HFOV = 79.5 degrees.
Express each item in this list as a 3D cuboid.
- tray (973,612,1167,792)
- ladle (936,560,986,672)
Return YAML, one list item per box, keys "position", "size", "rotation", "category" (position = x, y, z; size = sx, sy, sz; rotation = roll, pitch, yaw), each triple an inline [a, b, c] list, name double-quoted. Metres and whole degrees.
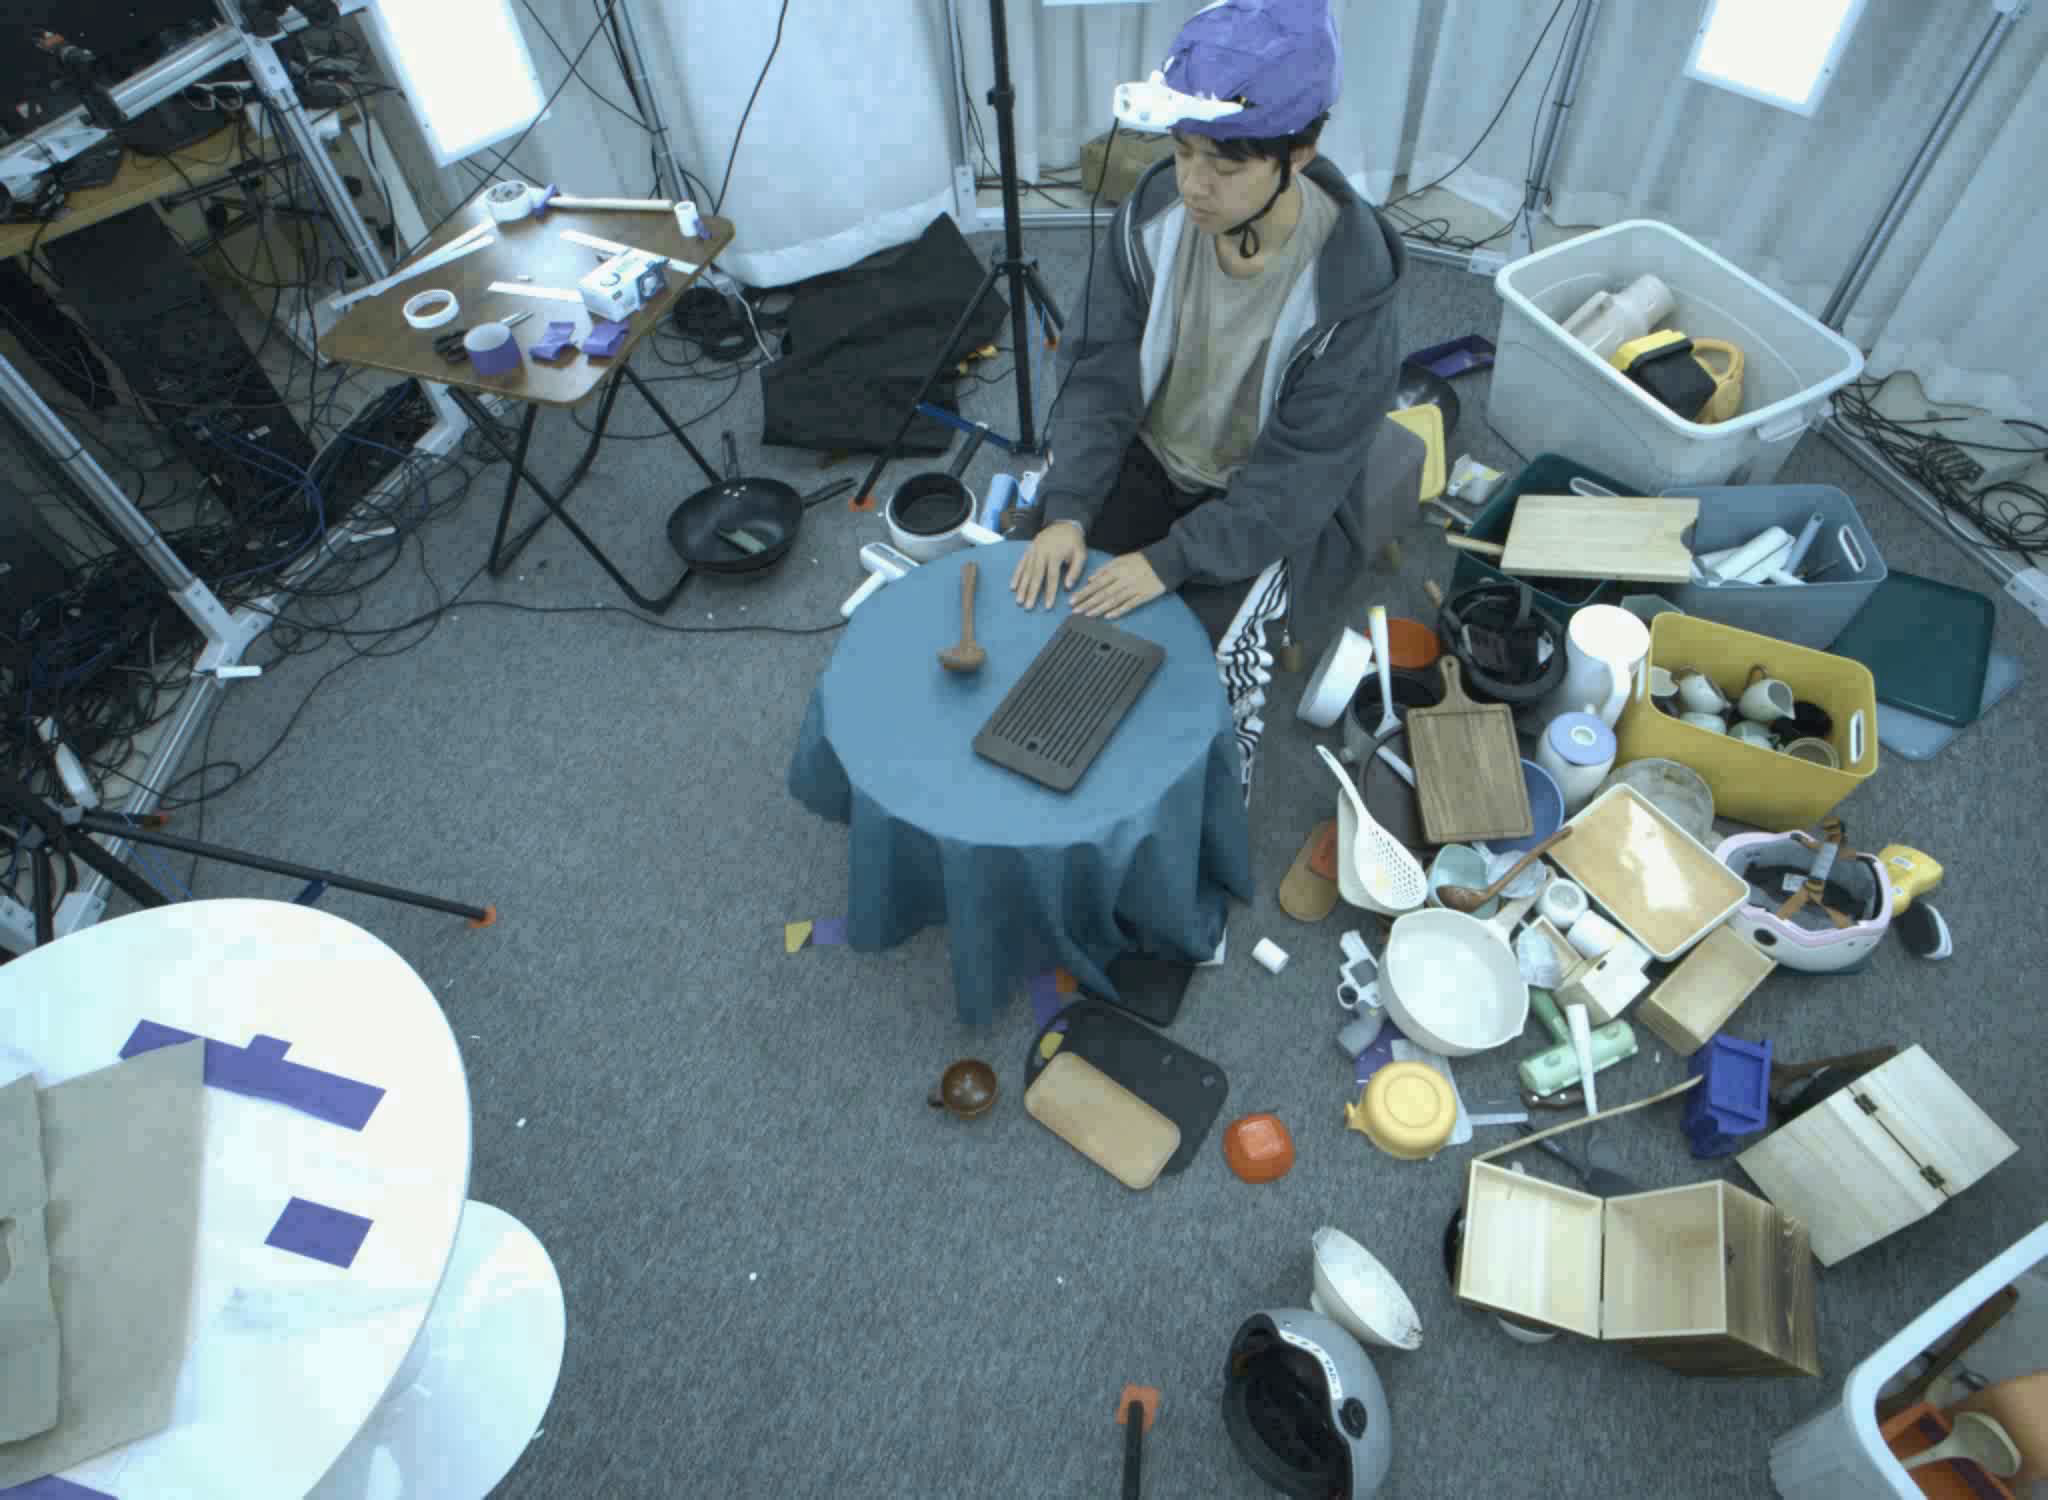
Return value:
- position: [0.072, -0.076, 1.830]
  size: [0.168, 0.019, 0.307]
  rotation: [25, 59, 19]
  category: "tray"
- position: [-0.092, -0.220, 1.910]
  size: [0.076, 0.066, 0.257]
  rotation: [0, 55, 3]
  category: "ladle"
